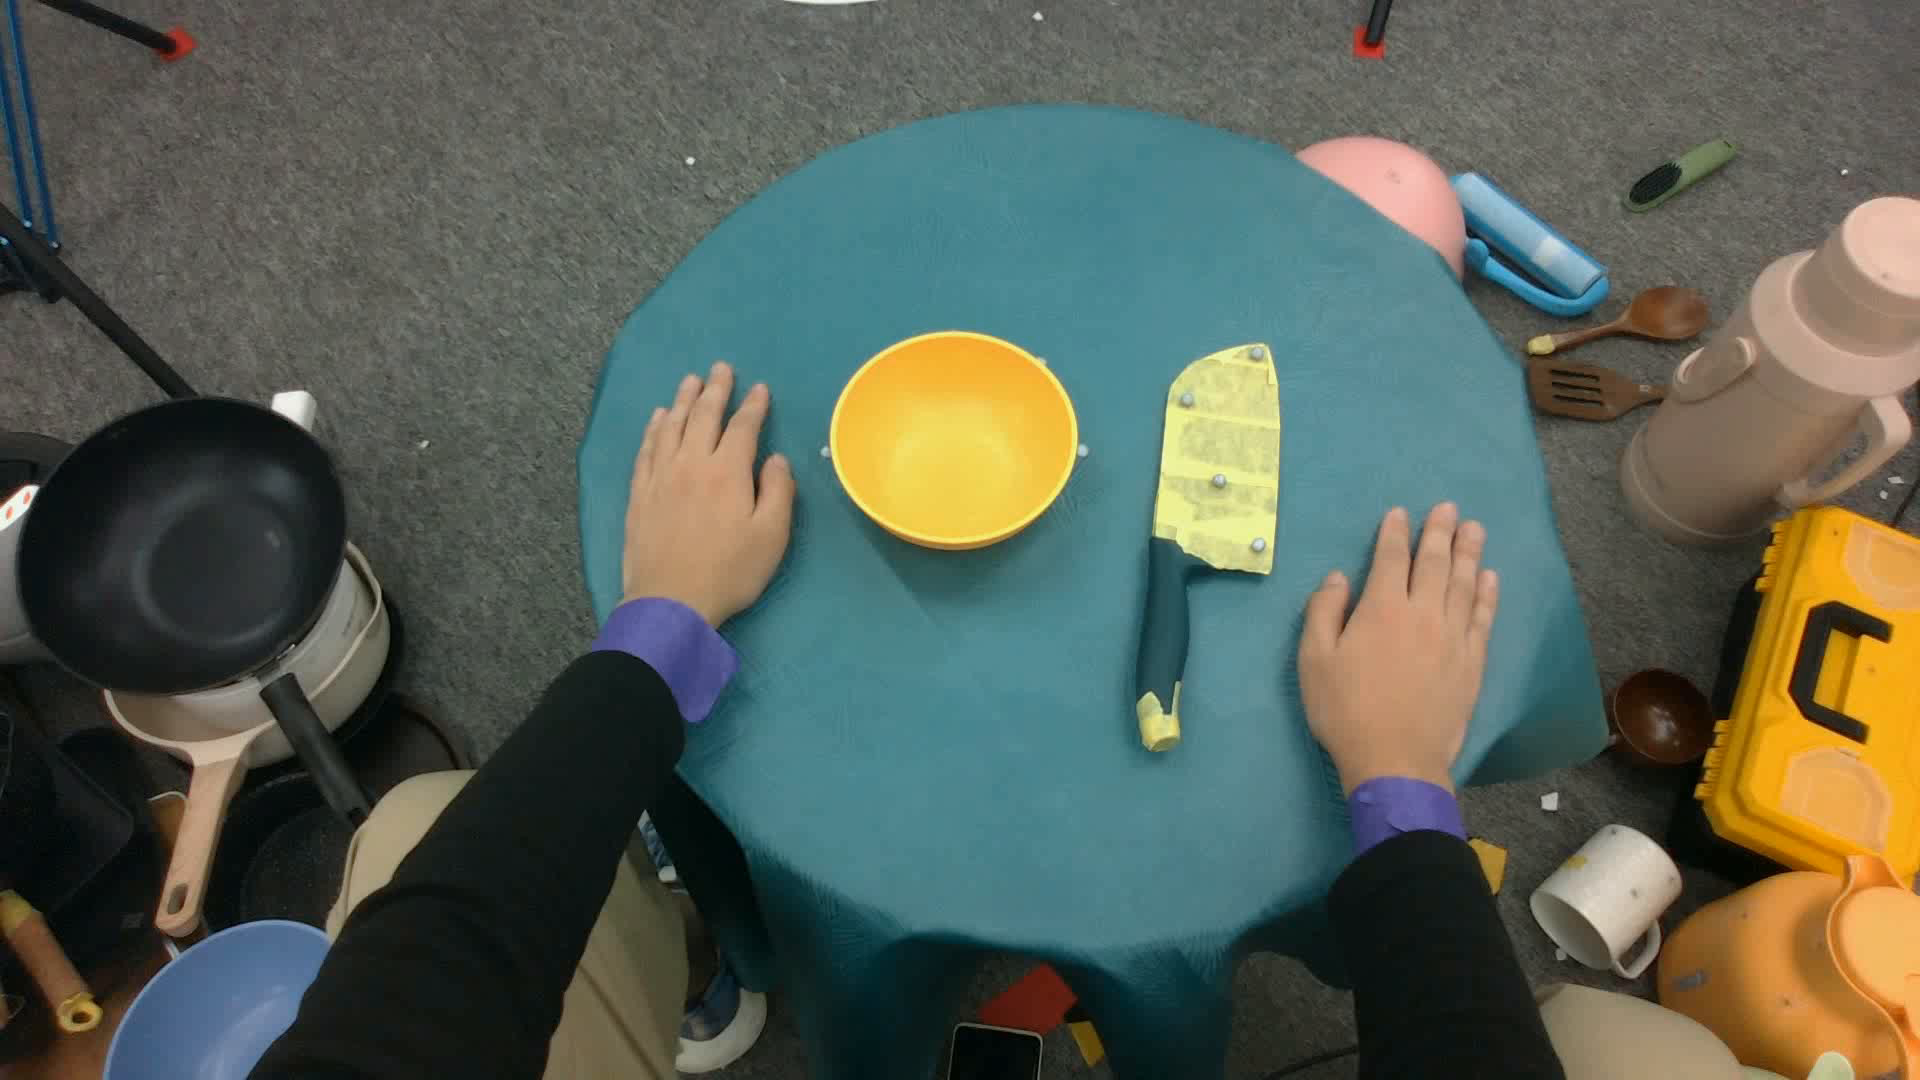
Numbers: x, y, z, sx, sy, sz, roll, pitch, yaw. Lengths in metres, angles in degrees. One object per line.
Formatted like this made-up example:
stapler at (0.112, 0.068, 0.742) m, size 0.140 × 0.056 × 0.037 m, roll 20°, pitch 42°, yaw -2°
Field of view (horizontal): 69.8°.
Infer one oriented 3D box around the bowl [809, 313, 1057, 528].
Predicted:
bowl at (-0.015, -0.061, 0.824) m, size 0.145 × 0.060 × 0.146 m, roll -1°, pitch 62°, yaw 2°

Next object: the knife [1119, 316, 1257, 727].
knife at (0.138, -0.021, 0.831) m, size 0.081 × 0.027 × 0.290 m, roll 9°, pitch 62°, yaw 6°
